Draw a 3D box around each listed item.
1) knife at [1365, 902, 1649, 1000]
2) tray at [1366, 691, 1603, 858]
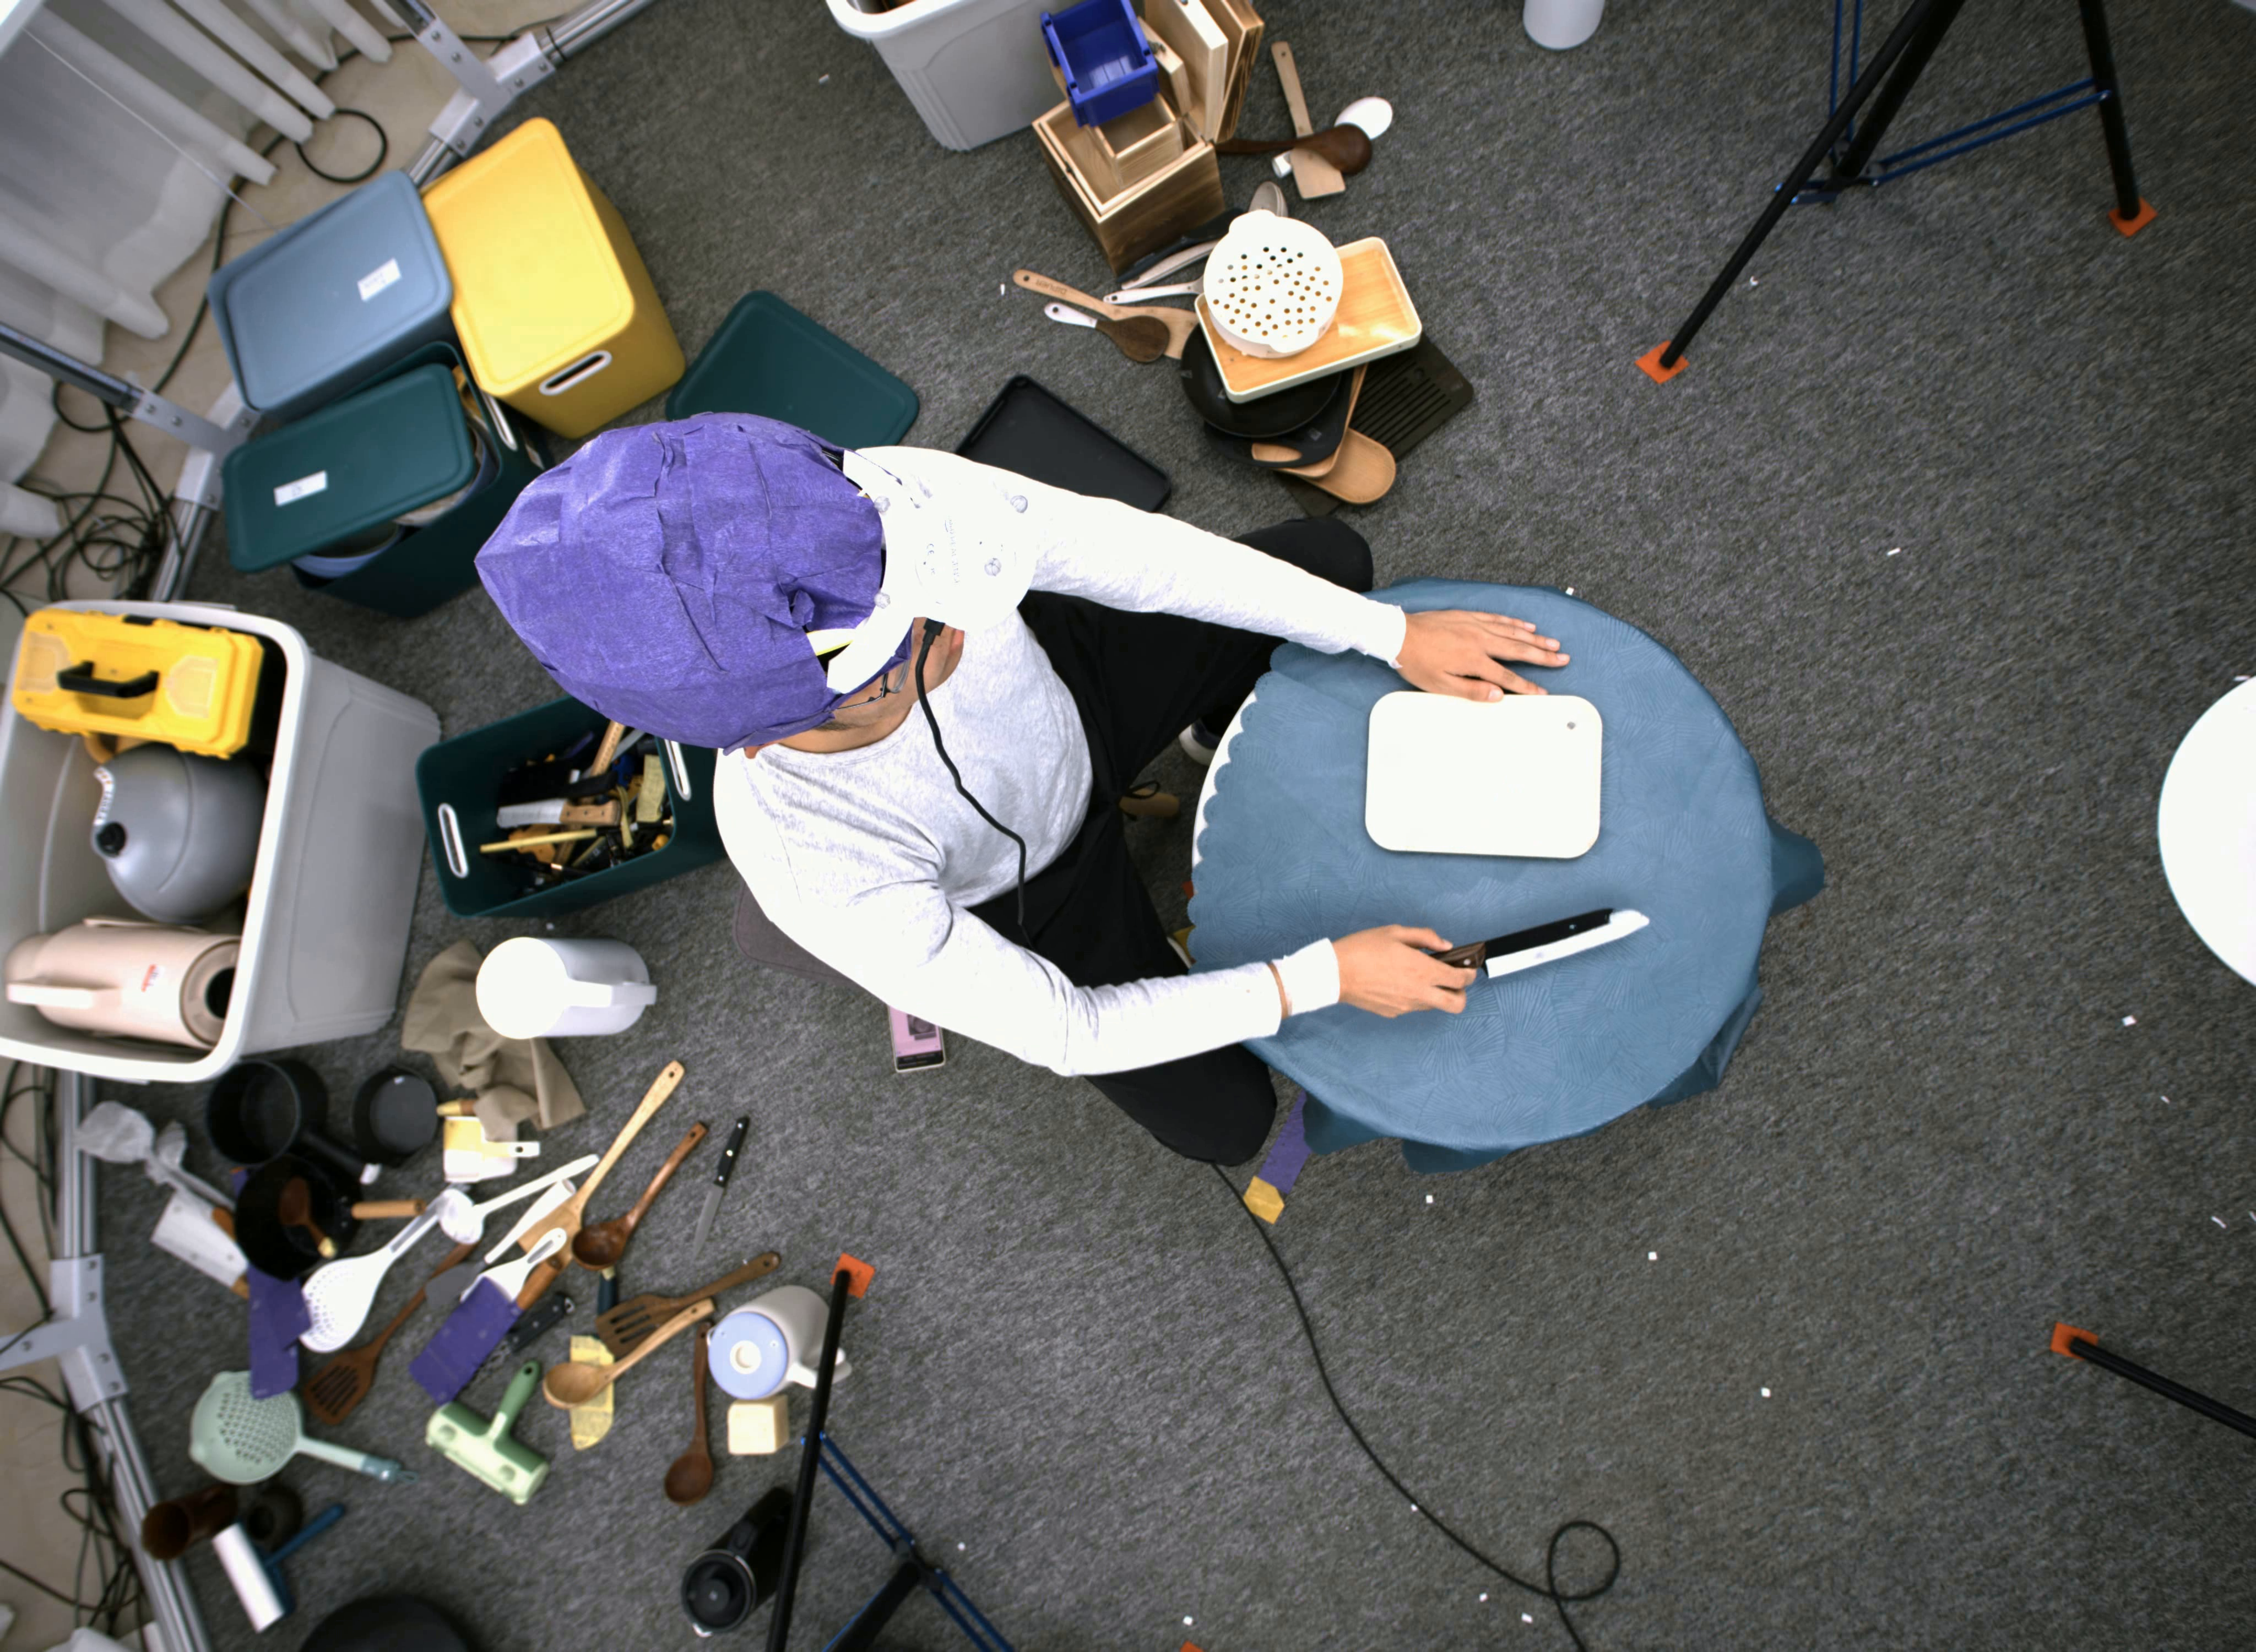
[{"bbox_3d":[0.379,0.123,1.380,0.291,0.019,0.051,-17,122,9],"label":"knife"},{"bbox_3d":[0.372,-0.057,1.439,0.240,0.017,0.170,3,87,11],"label":"tray"}]
